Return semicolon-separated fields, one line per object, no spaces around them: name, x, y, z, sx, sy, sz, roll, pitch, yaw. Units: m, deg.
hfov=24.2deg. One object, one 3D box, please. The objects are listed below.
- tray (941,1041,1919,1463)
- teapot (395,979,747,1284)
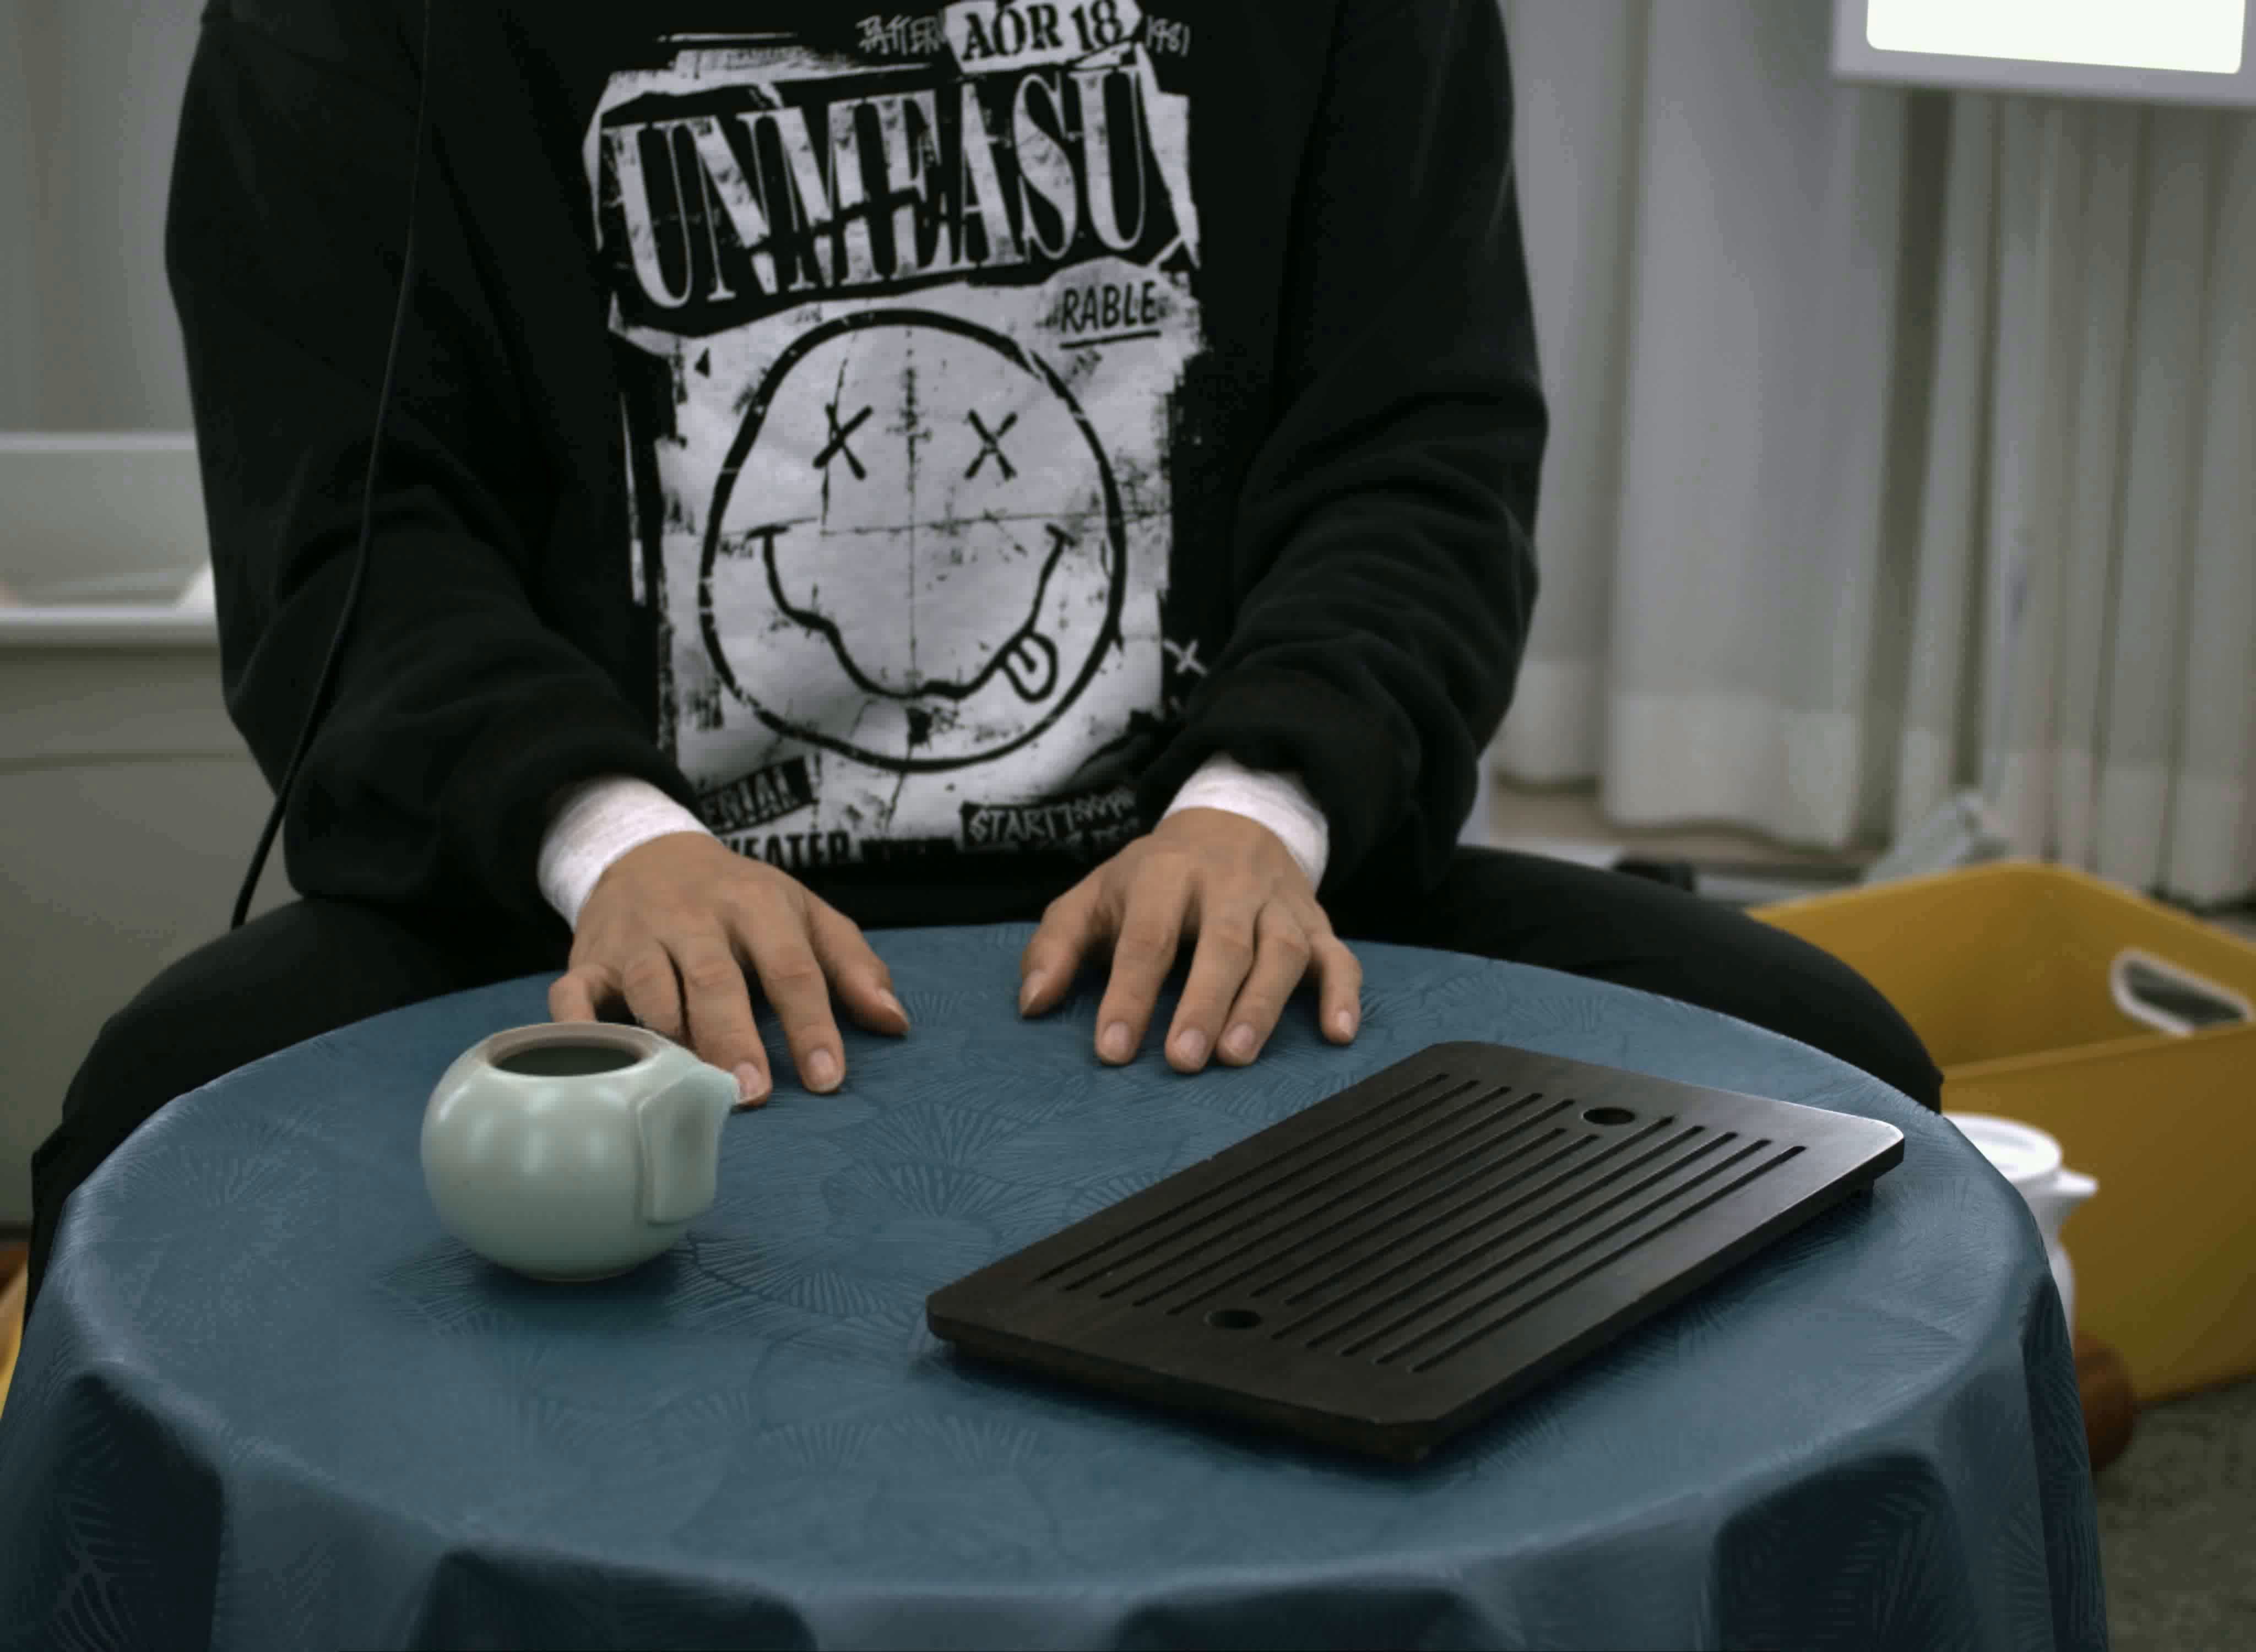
tray;0.096;0.122;1.557;0.168;0.019;0.307;10;18;32
teapot;-0.164;0.093;1.550;0.142;0.075;0.089;16;22;40
